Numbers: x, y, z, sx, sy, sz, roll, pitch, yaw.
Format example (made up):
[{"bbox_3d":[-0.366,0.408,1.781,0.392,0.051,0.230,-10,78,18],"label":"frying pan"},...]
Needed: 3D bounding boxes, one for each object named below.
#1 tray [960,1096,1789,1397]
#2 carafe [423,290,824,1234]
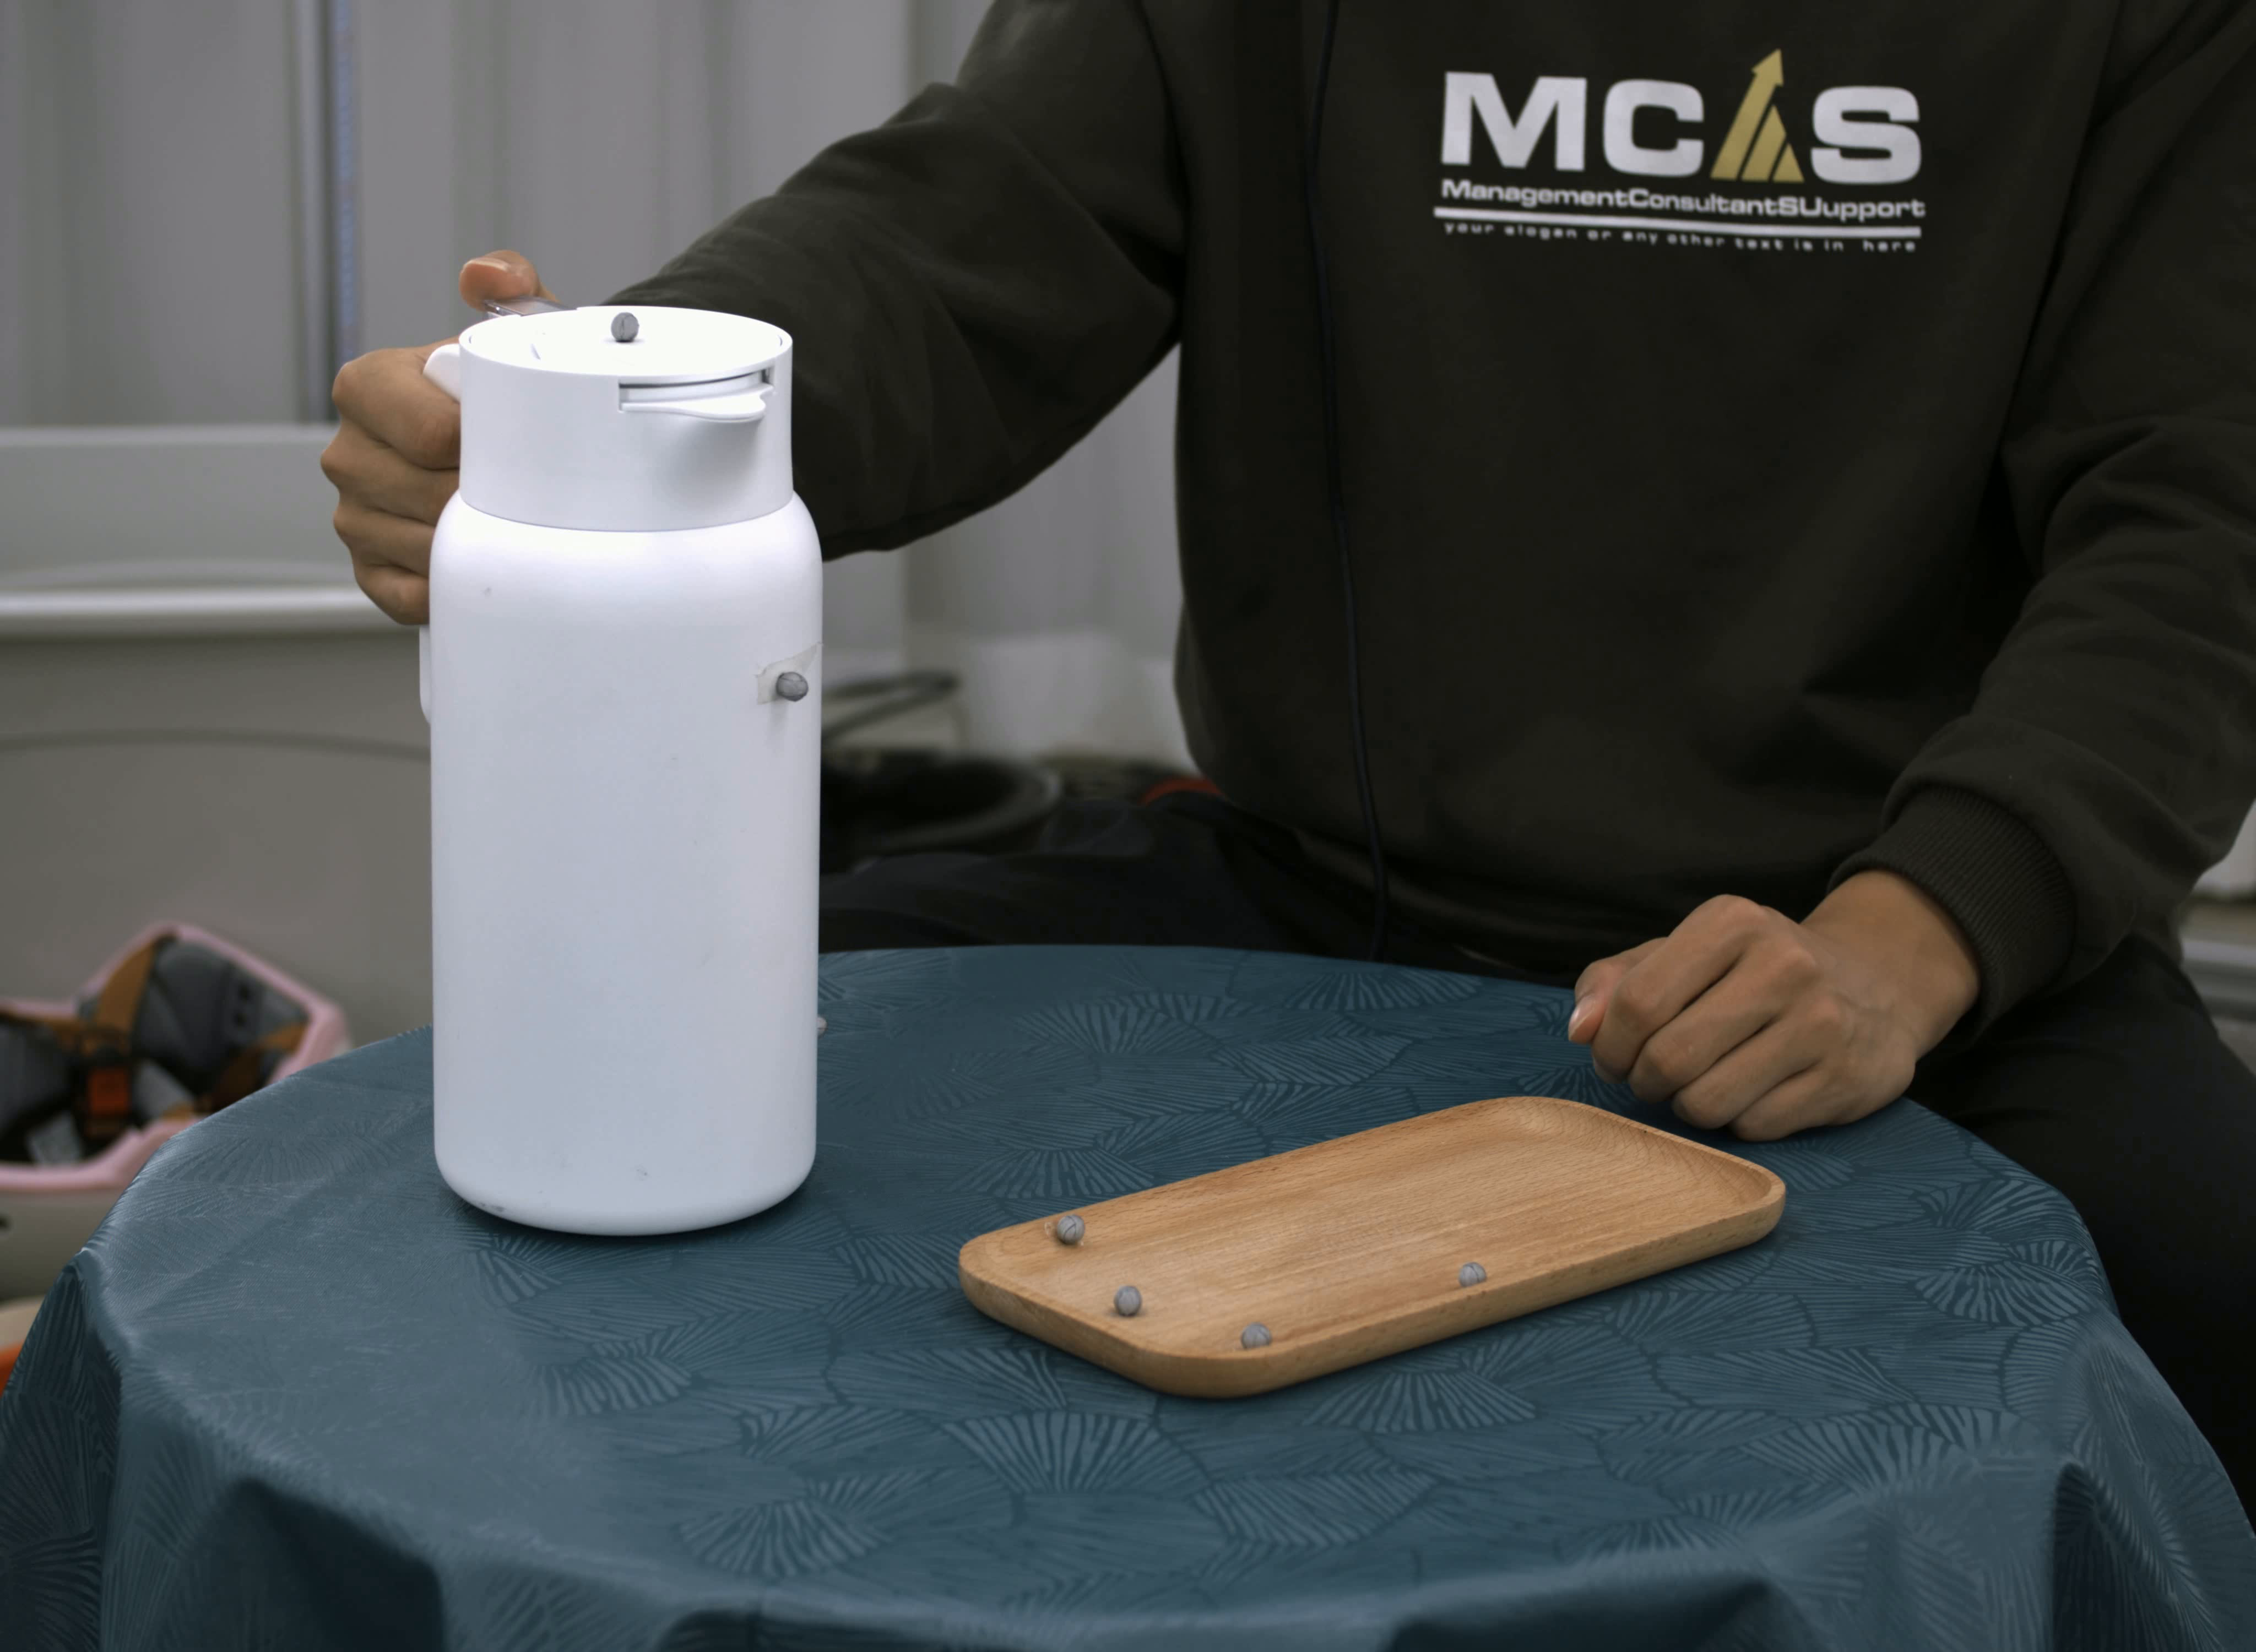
[{"bbox_3d":[0.076,0.123,1.568,0.252,0.023,0.129,-11,21,-38],"label":"tray"},{"bbox_3d":[-0.163,-0.023,1.597,0.124,0.271,0.170,-13,23,-34],"label":"carafe"}]
